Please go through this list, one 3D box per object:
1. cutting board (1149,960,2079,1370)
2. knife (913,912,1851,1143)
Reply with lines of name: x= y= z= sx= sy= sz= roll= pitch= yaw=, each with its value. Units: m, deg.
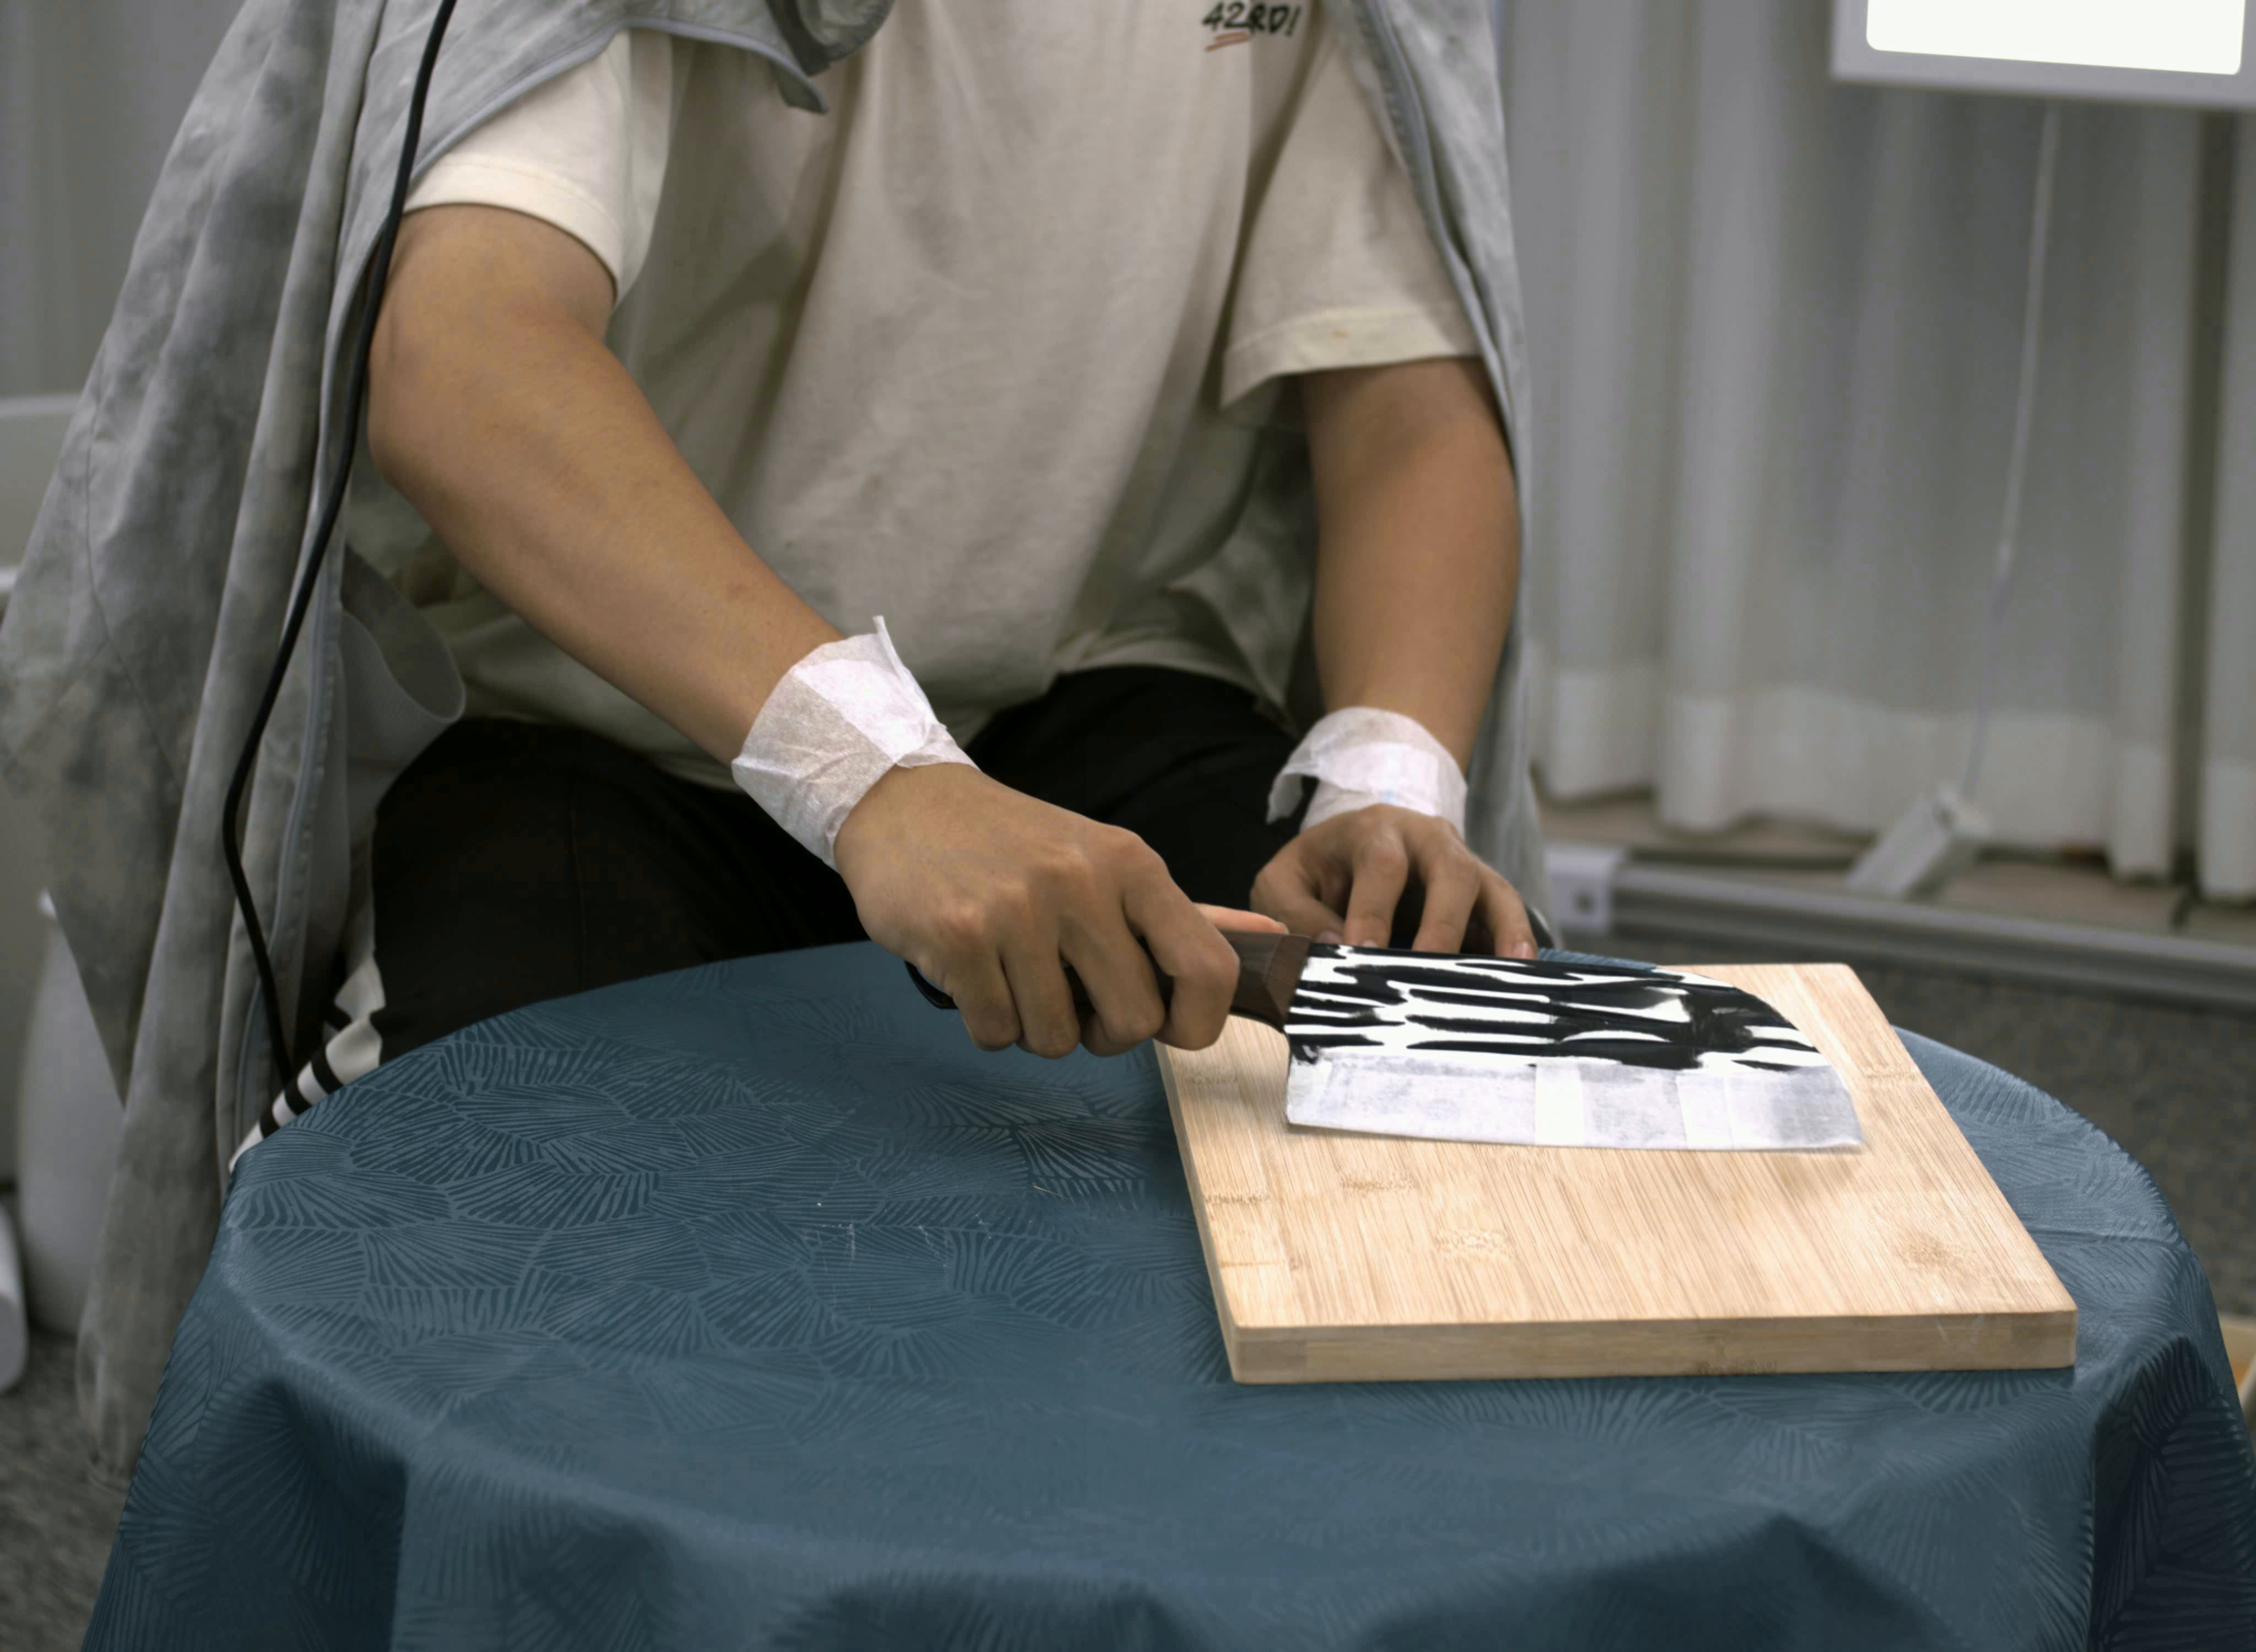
cutting board: x=0.138 y=0.101 z=1.643 sx=0.250 sy=0.024 sz=0.346 roll=0 pitch=15 yaw=-5
knife: x=0.077 y=0.064 z=1.641 sx=0.298 sy=0.024 sz=0.067 roll=5 pitch=57 yaw=5
